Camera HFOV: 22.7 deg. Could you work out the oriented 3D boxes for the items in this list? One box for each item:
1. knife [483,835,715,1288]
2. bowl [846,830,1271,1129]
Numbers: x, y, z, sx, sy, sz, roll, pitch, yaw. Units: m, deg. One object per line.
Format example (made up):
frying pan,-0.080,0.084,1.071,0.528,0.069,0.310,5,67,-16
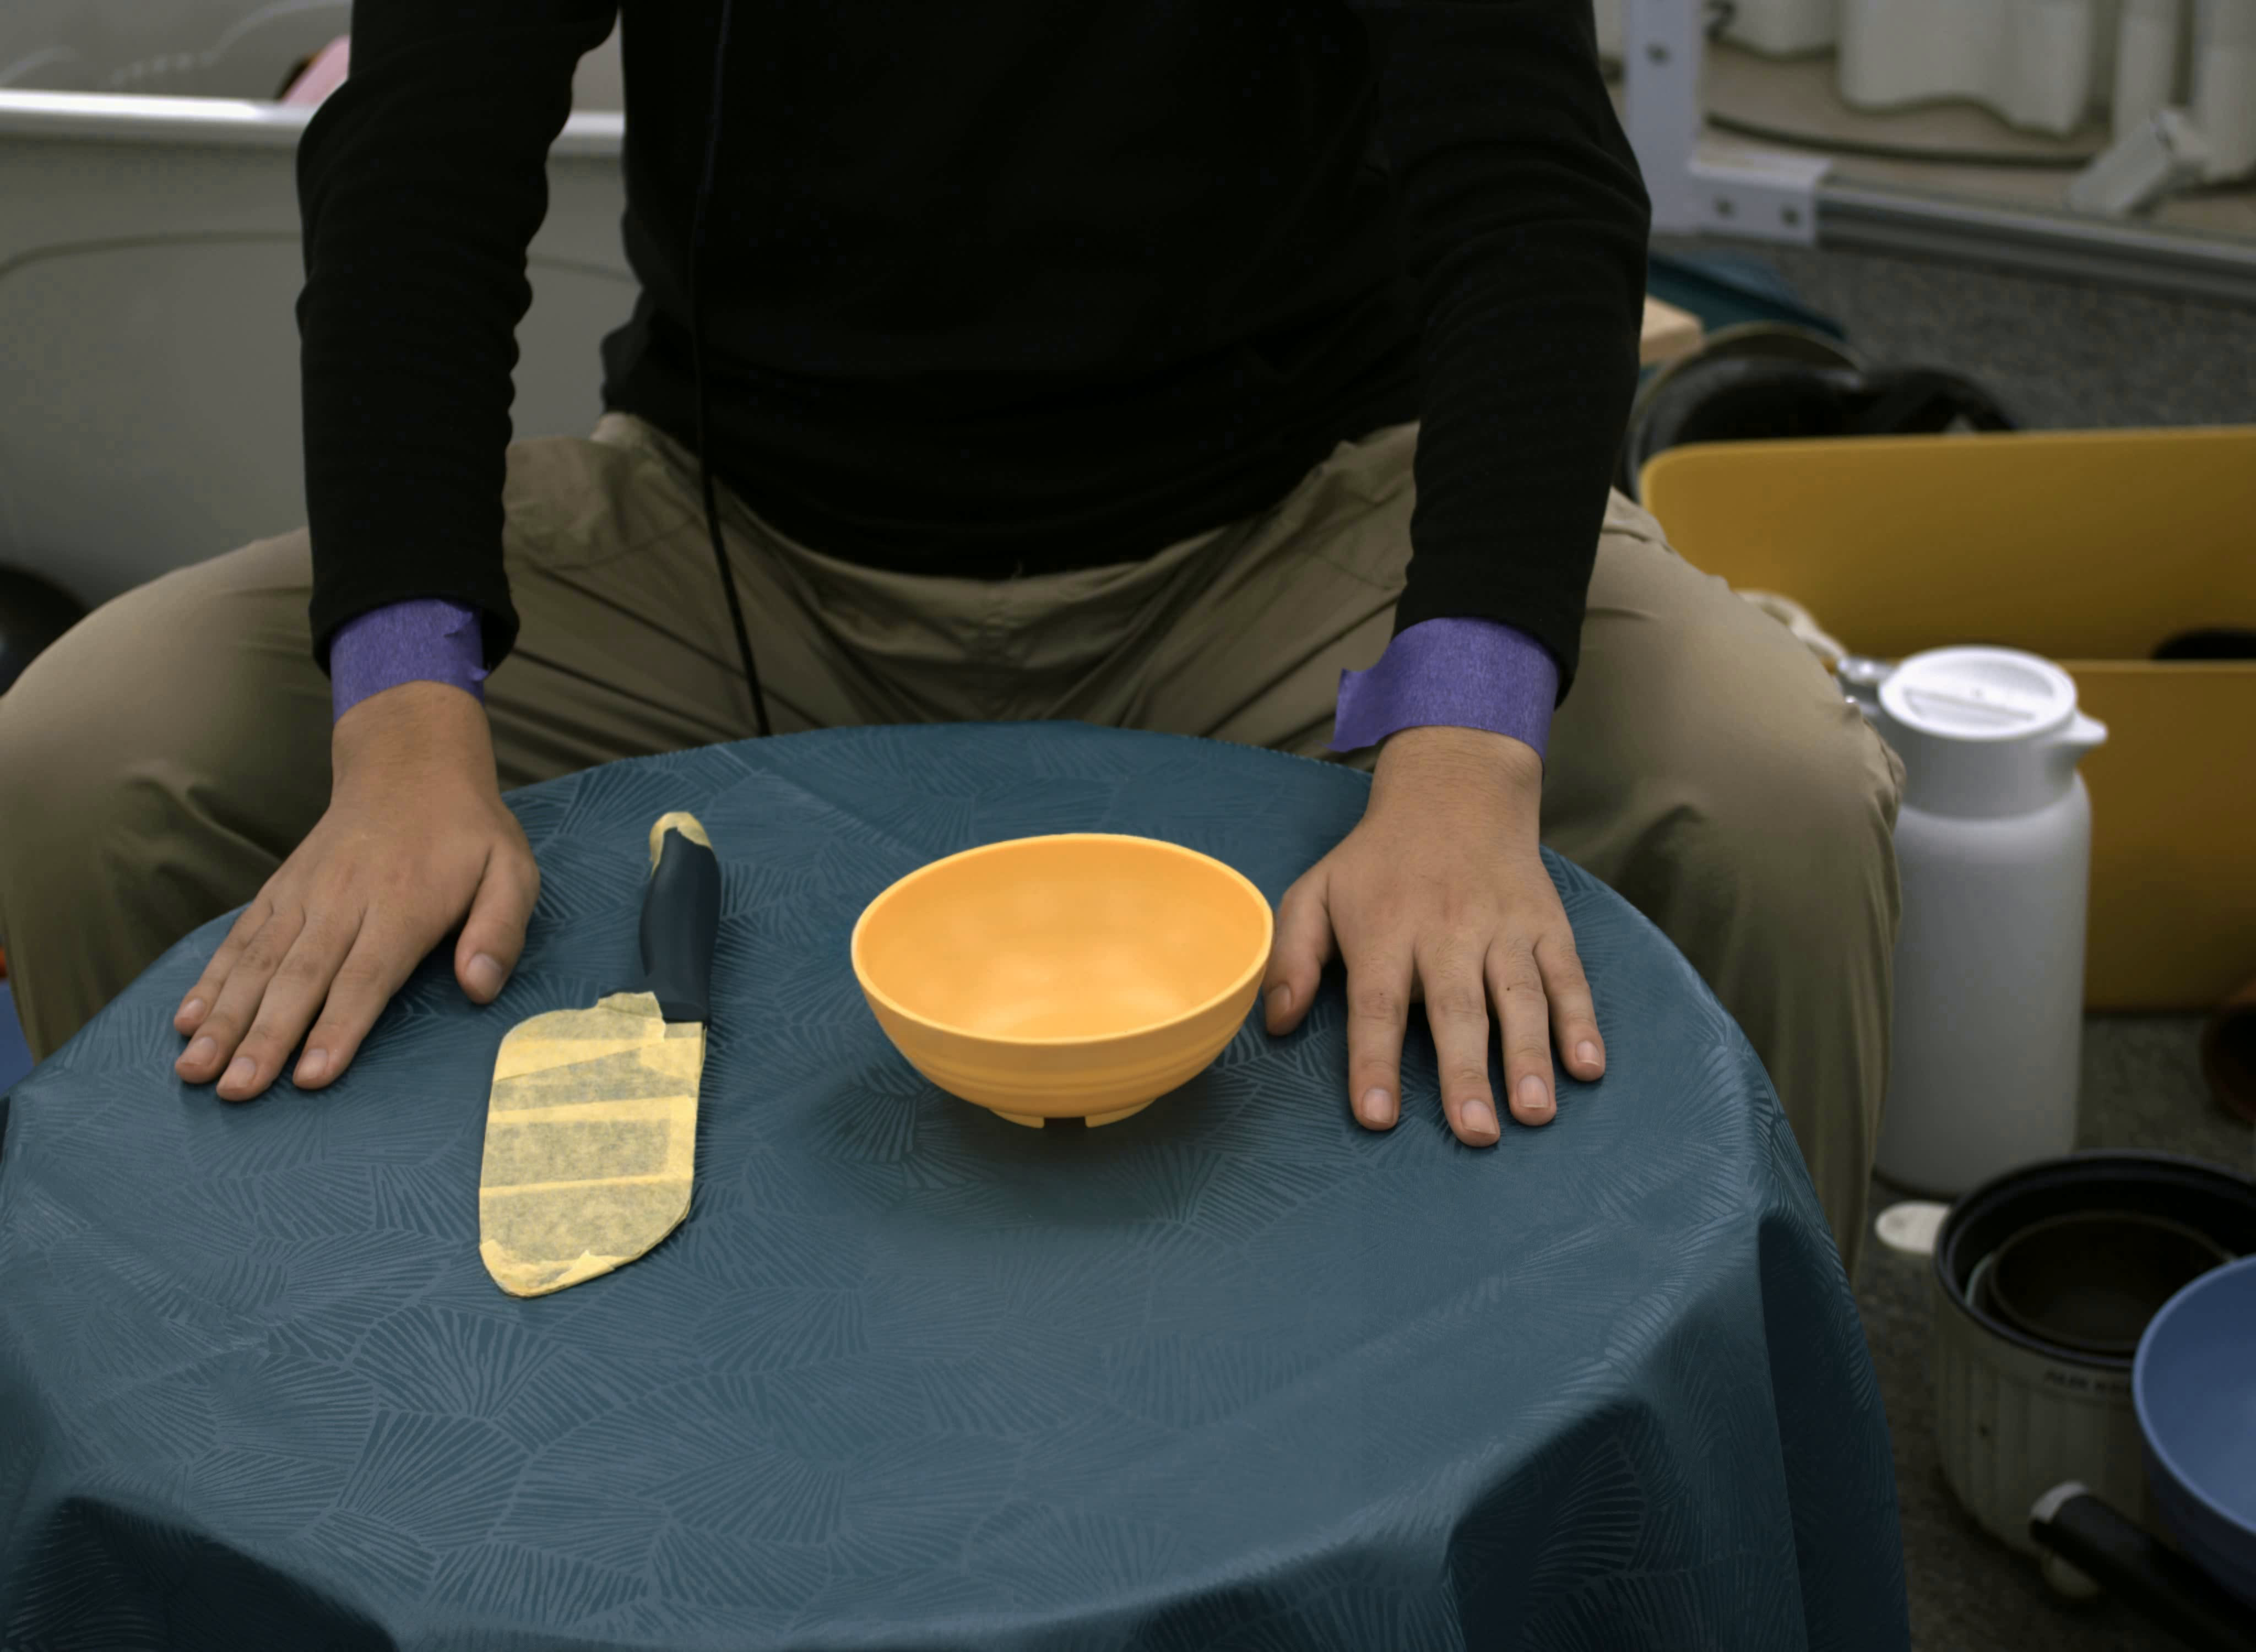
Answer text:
knife,-0.180,0.080,1.942,0.080,0.027,0.294,0,28,2
bowl,-0.023,0.061,1.915,0.144,0.059,0.147,0,28,0
